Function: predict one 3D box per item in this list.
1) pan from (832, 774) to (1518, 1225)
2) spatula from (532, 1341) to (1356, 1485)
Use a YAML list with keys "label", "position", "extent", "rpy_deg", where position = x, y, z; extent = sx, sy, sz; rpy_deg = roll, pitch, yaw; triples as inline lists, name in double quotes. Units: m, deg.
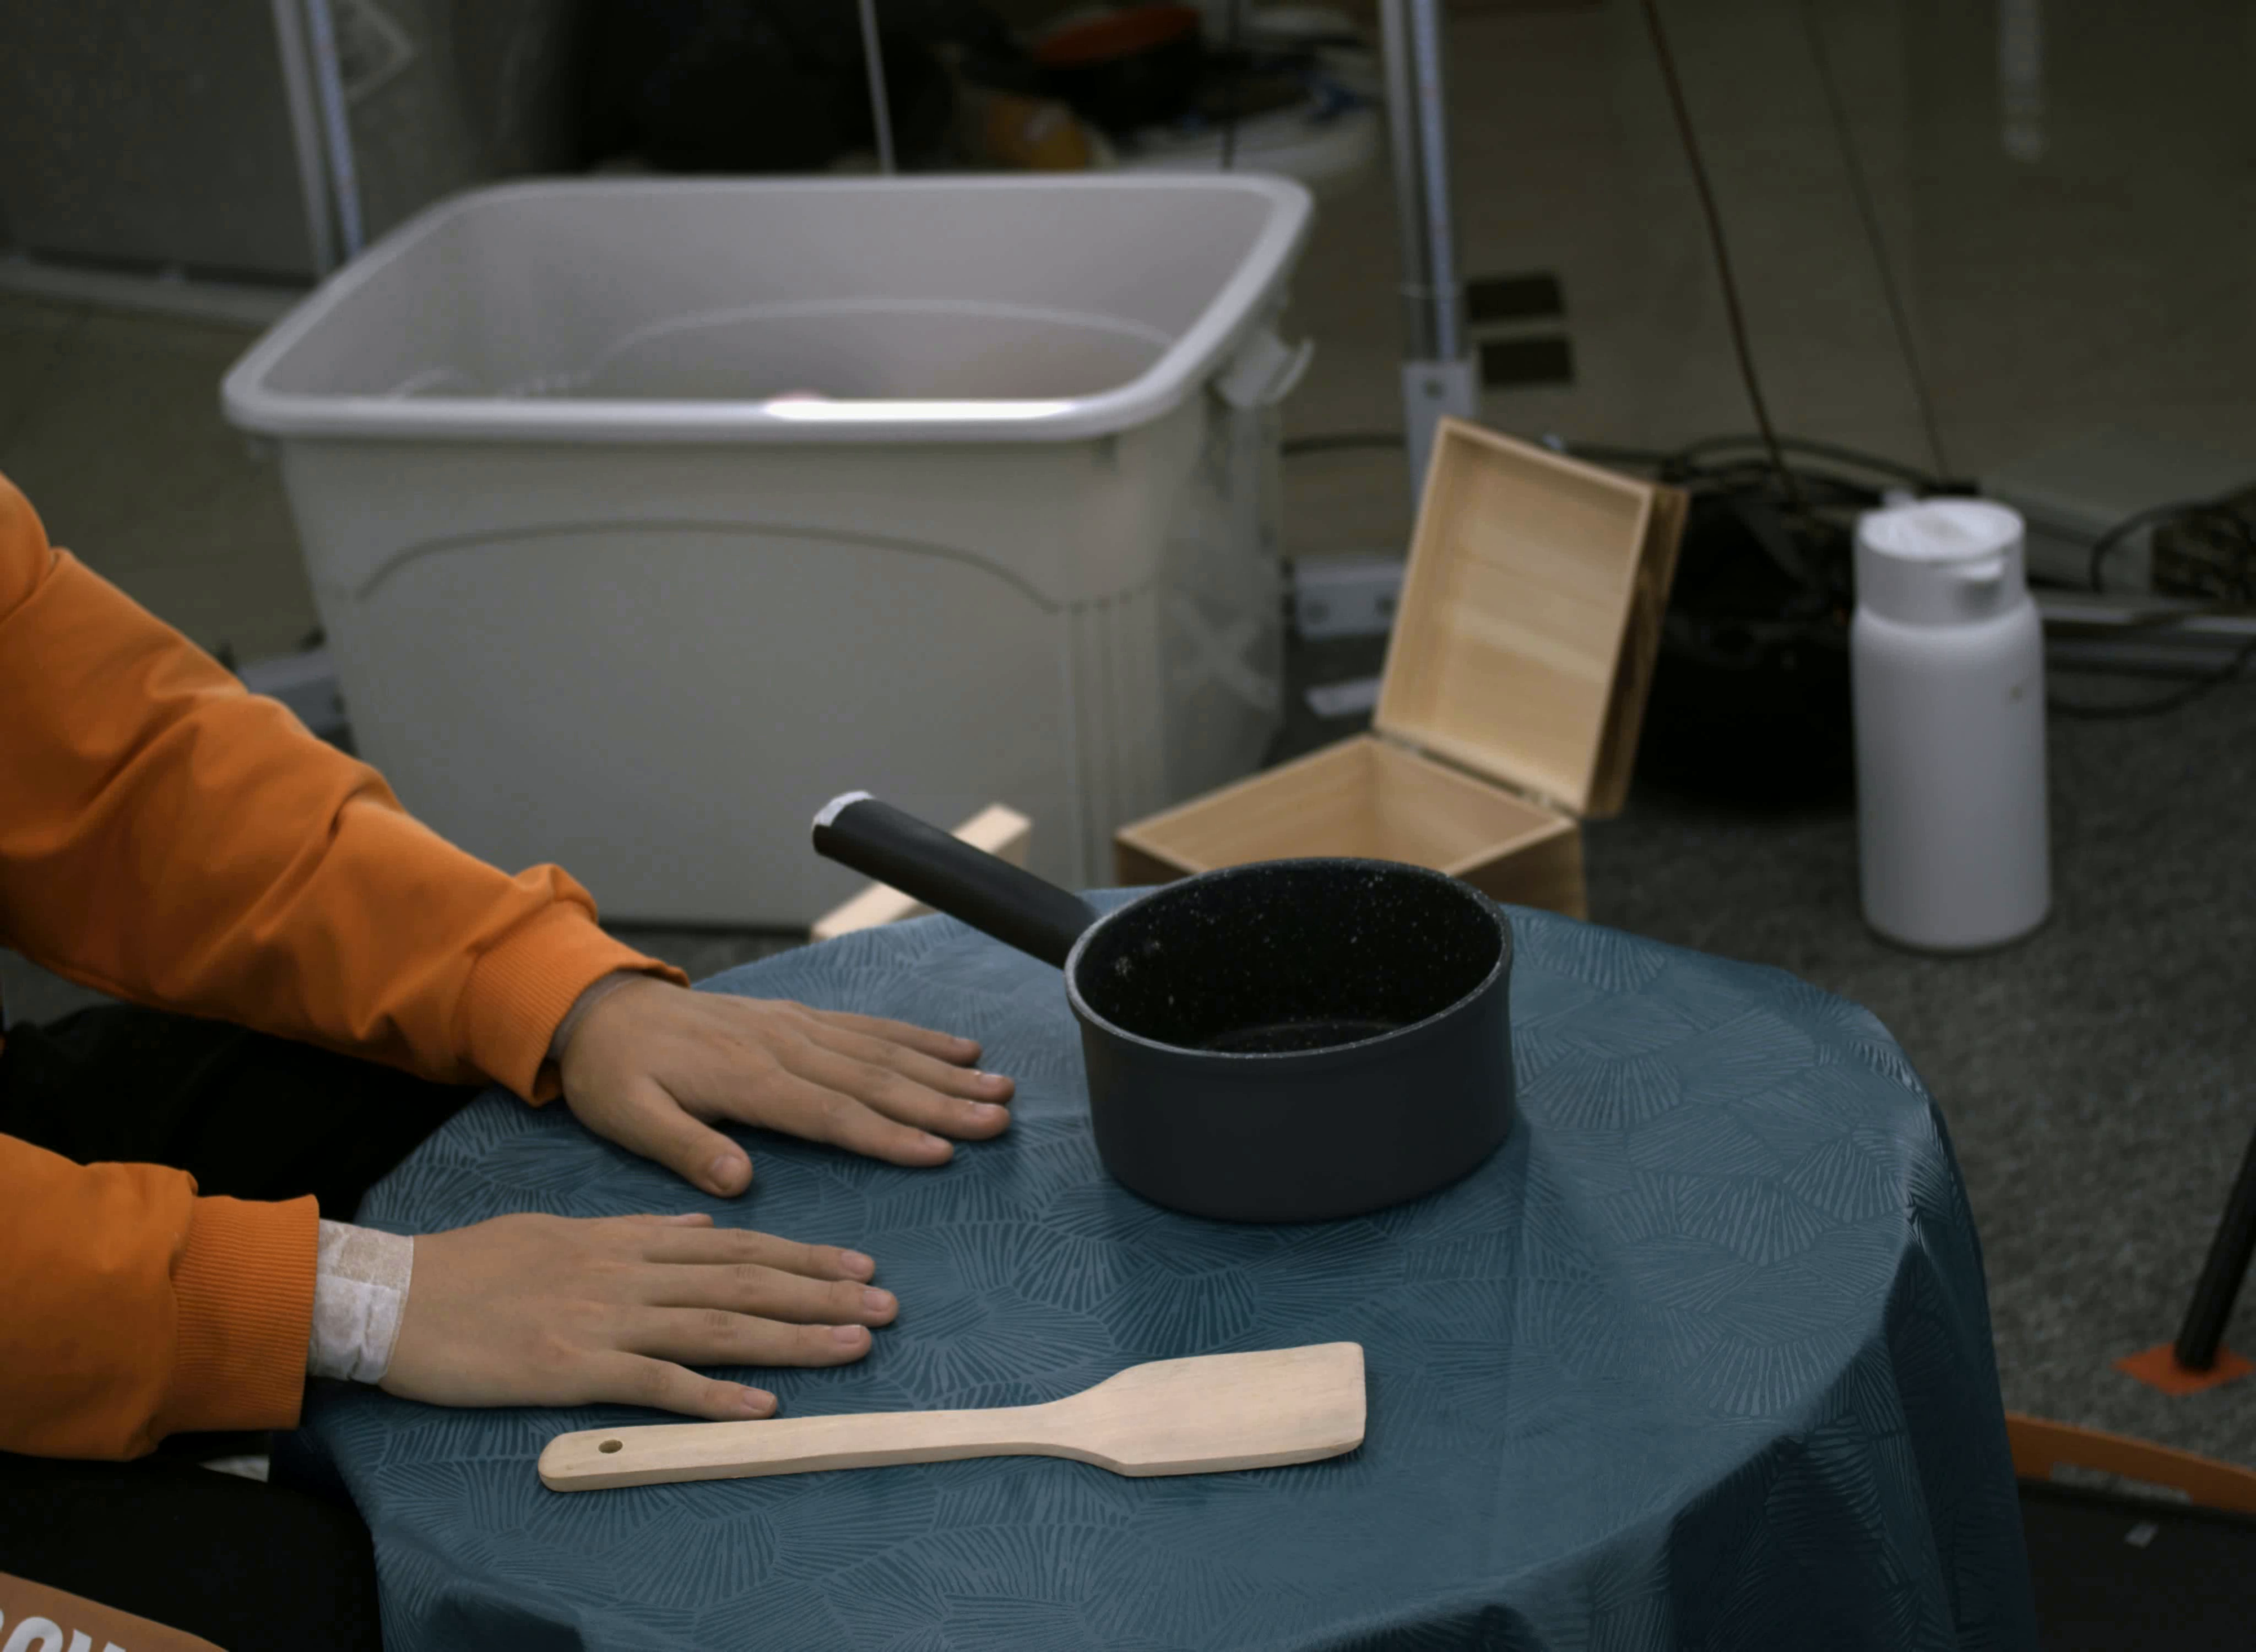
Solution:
- label: "pan"
  position: [0.007, 0.060, 2.212]
  extent: [0.326, 0.088, 0.170]
  rpy_deg: [19, 35, 40]
- label: "spatula"
  position: [-0.065, 0.213, 1.994]
  extent: [0.292, 0.011, 0.071]
  rpy_deg: [-5, 29, 4]
